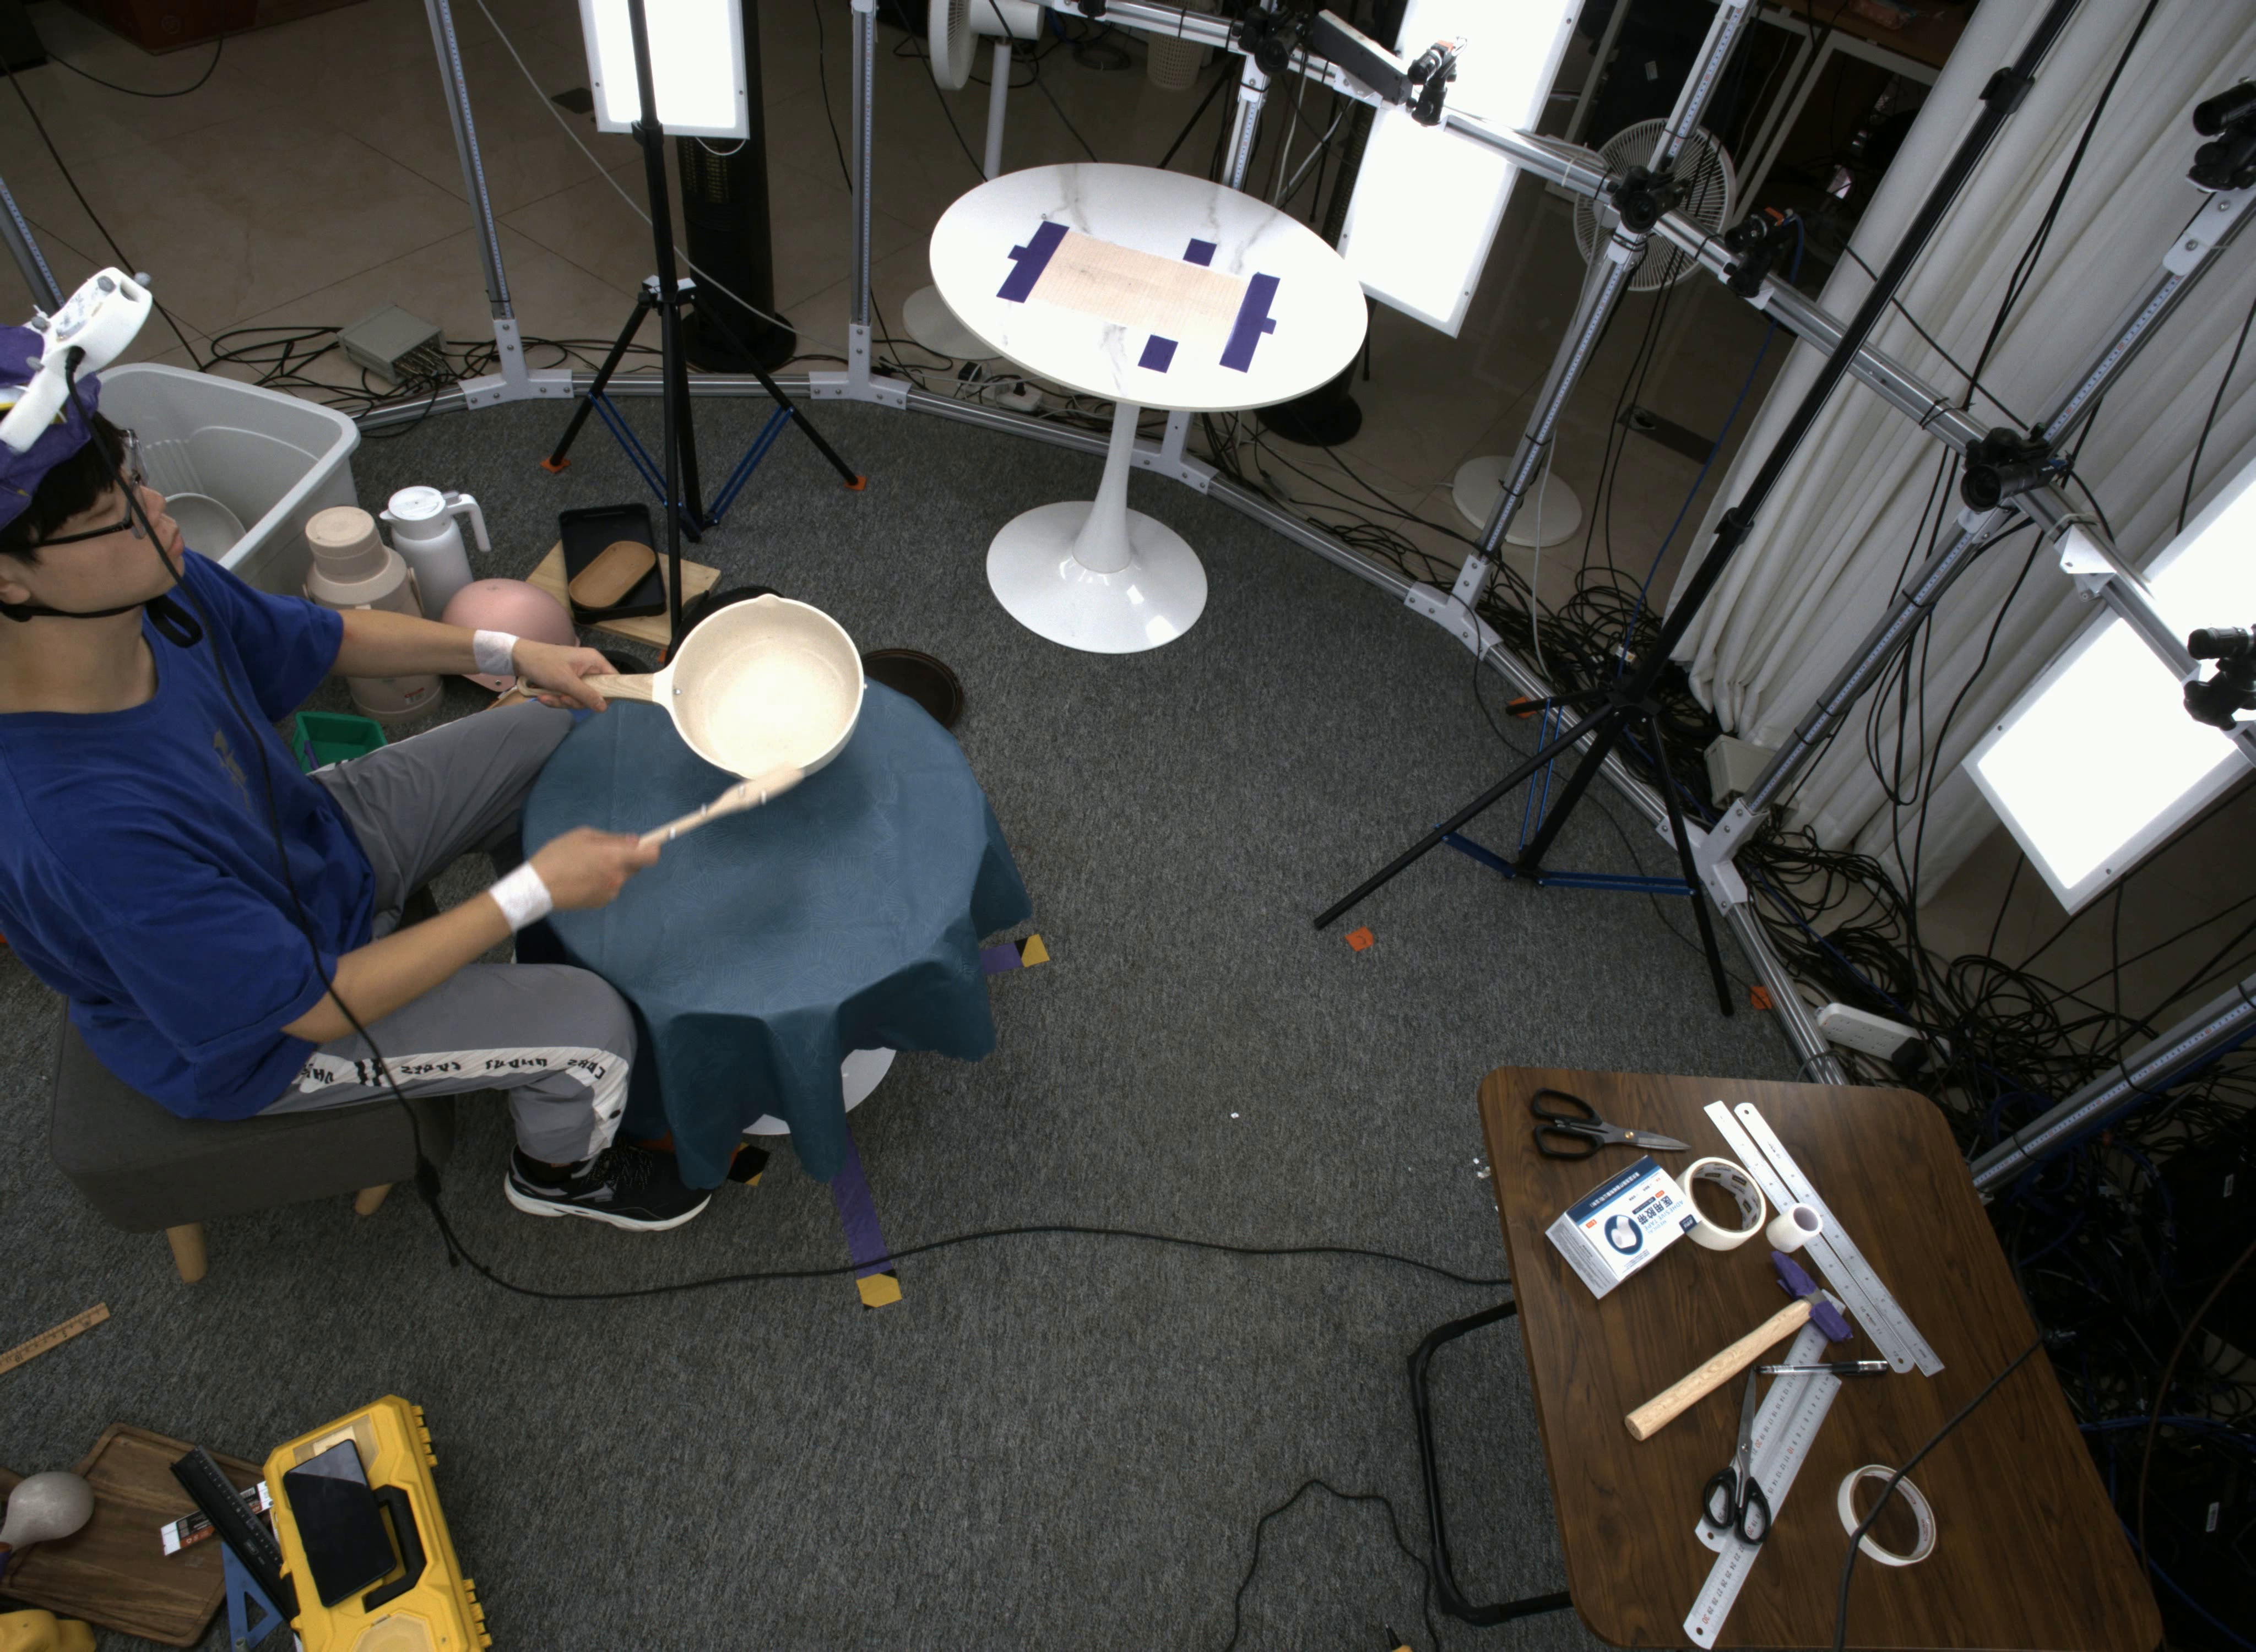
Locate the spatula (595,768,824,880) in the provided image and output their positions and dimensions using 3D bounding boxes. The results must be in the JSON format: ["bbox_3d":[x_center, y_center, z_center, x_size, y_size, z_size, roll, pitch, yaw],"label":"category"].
[{"bbox_3d":[-0.499,-0.003,1.532,0.294,0.011,0.069,-28,30,-29],"label":"spatula"}]

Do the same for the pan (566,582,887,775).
[{"bbox_3d":[-0.532,-0.183,1.701,0.433,0.103,0.262,-3,75,-8],"label":"pan"}]
